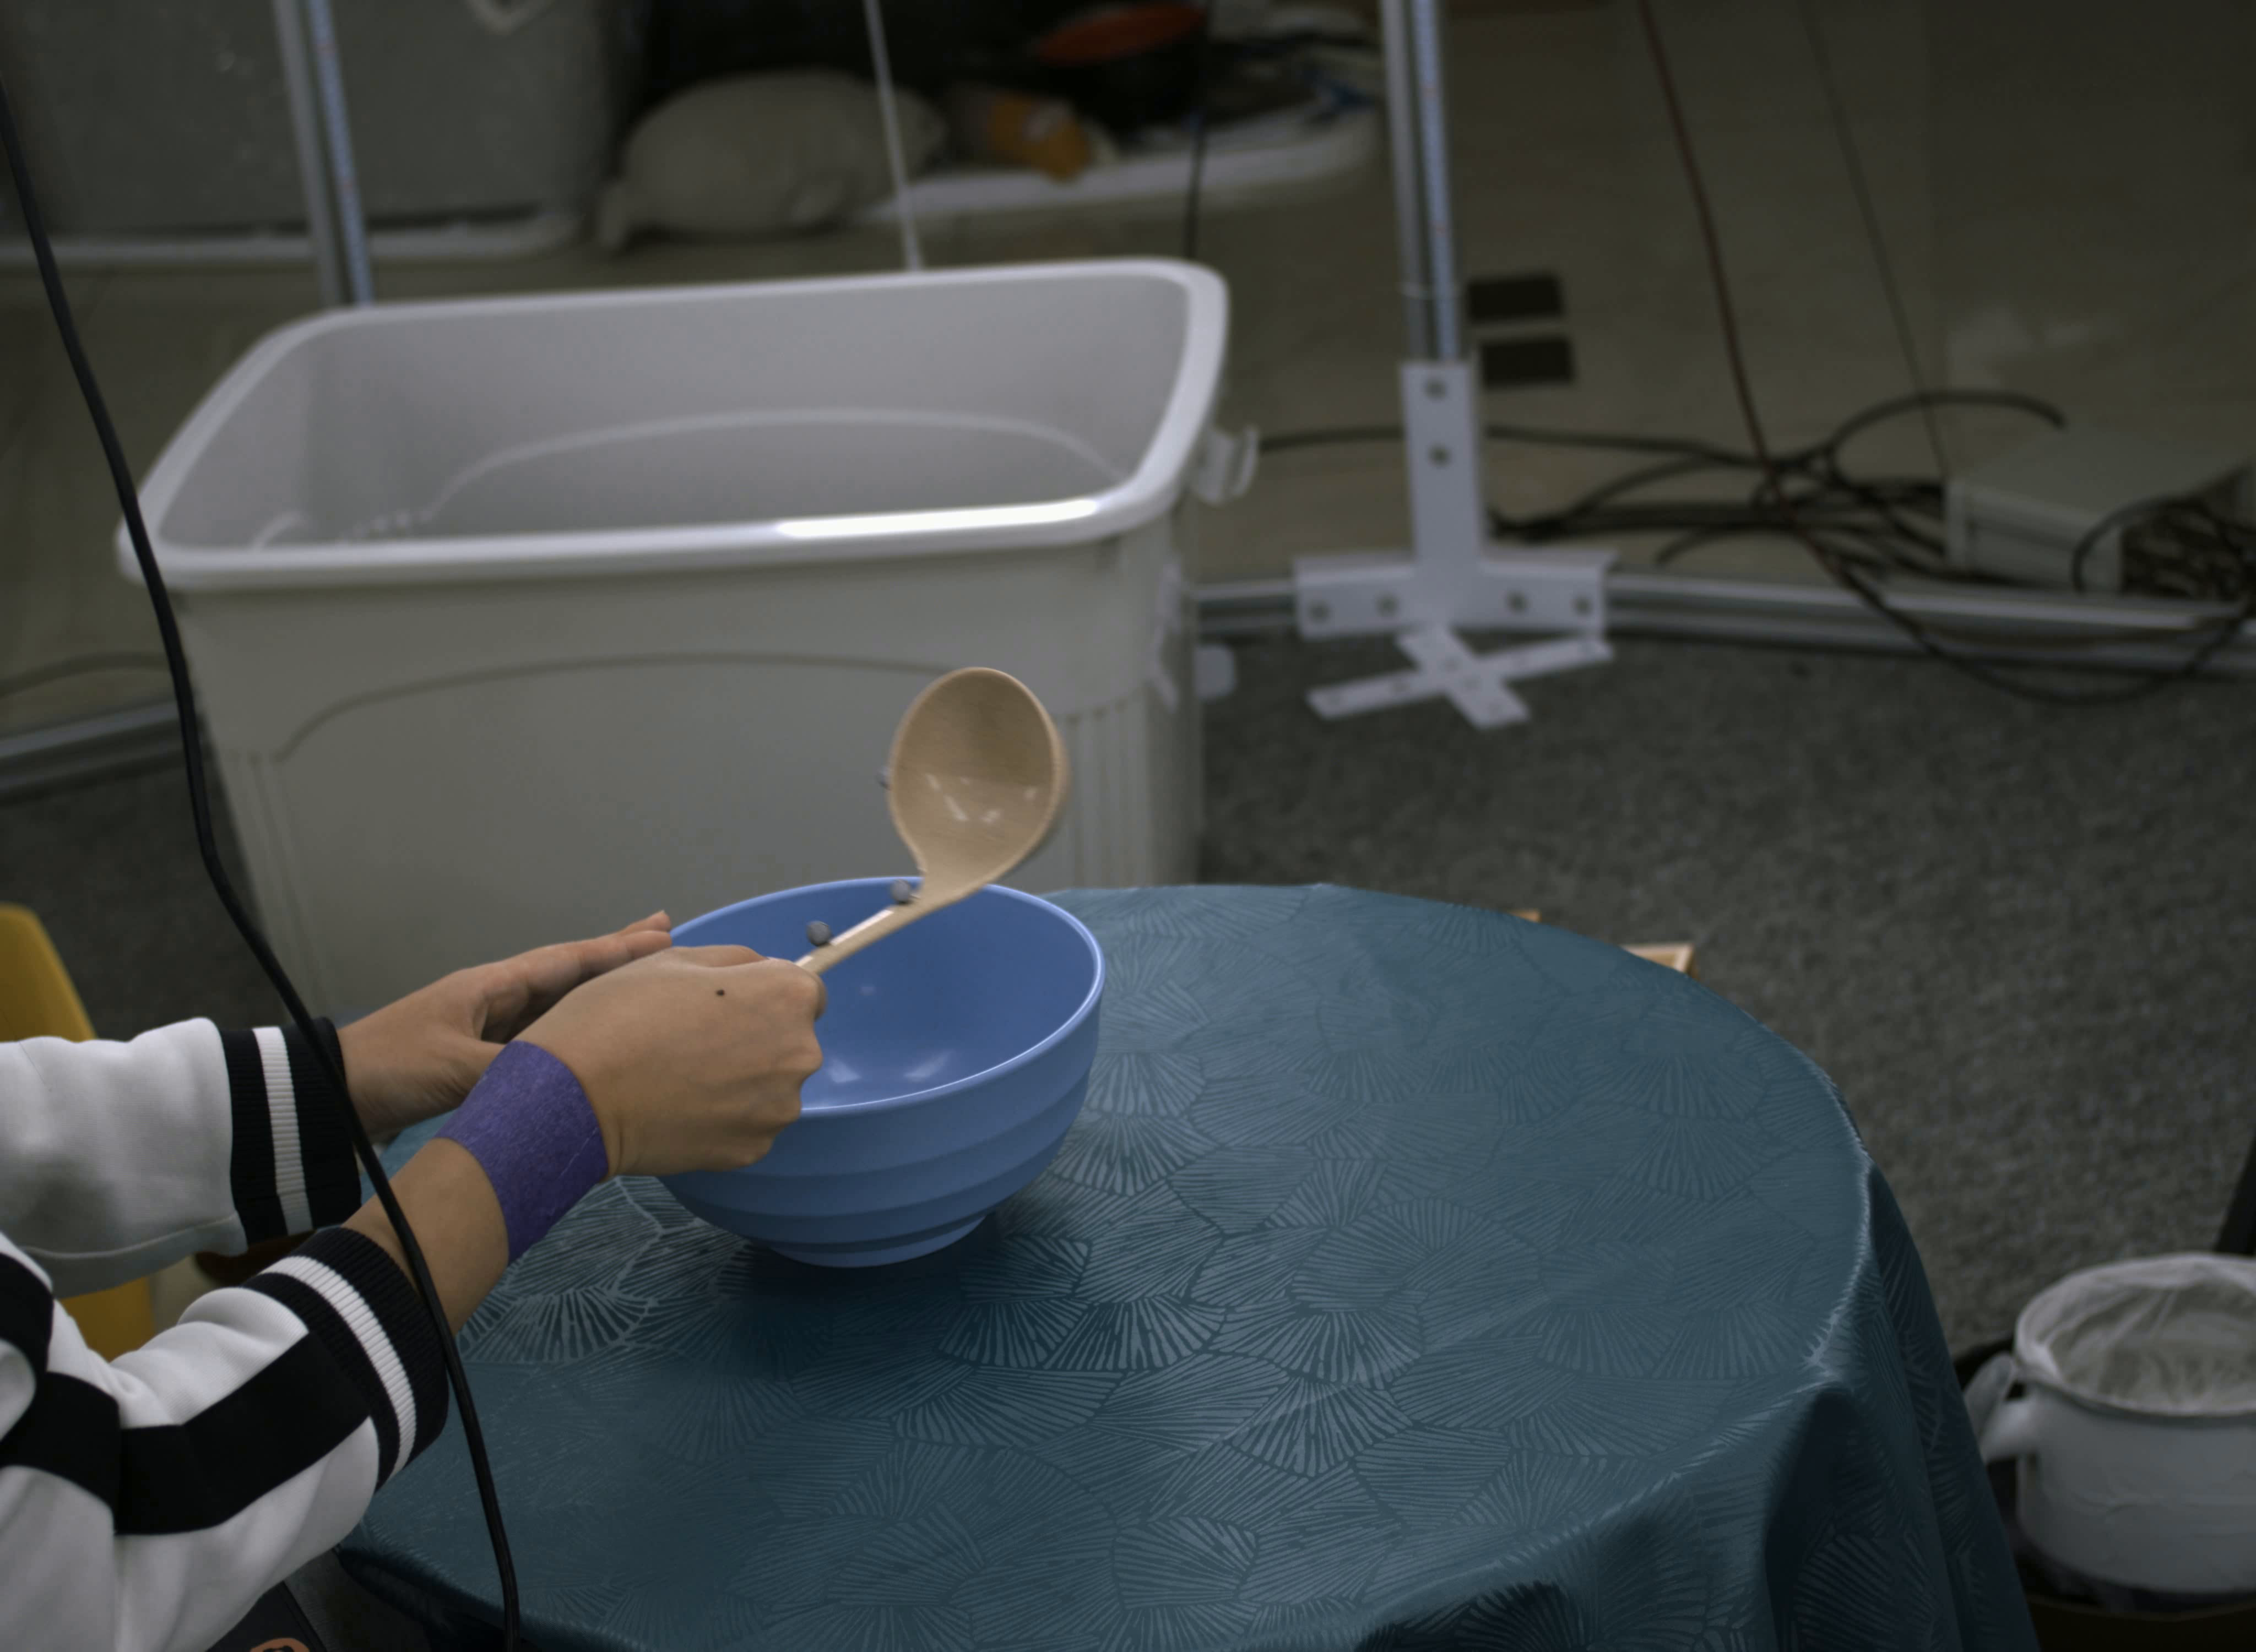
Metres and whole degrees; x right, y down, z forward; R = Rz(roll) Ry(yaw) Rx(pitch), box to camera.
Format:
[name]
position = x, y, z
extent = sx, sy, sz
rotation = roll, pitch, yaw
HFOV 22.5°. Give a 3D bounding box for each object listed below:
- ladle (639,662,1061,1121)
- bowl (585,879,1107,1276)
[ladle]
position = -0.104, 0.016, 1.947
extent = 0.072, 0.074, 0.251
rotation = 3, 23, 29
[bowl]
position = -0.101, 0.106, 2.138
extent = 0.196, 0.097, 0.193
rotation = -5, 27, 2
